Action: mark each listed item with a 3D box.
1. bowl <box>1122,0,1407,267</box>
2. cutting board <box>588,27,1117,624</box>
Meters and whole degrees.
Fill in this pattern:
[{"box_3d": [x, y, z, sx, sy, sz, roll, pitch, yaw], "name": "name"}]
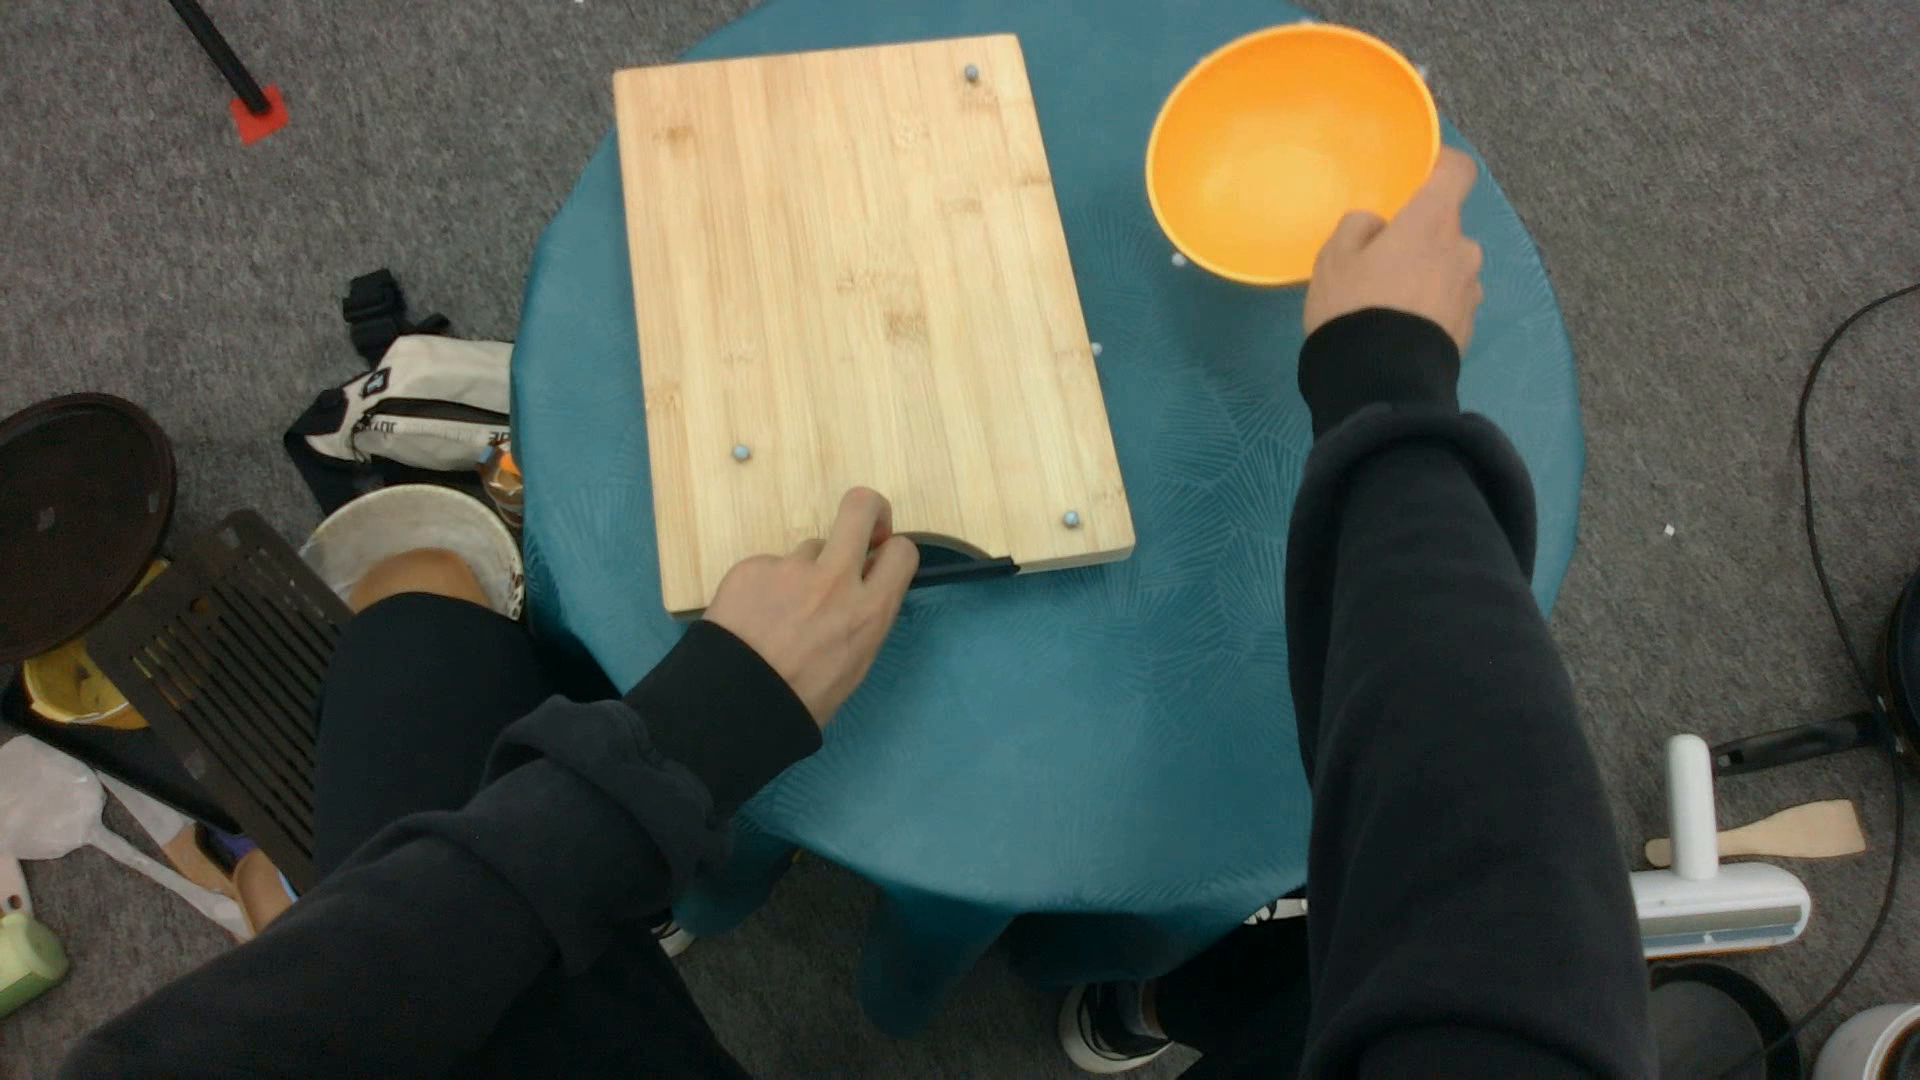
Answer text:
[{"box_3d": [0.162, -0.206, 0.729, 0.145, 0.060, 0.145, -3, 80, 20], "name": "bowl"}, {"box_3d": [-0.068, -0.135, 0.754, 0.251, 0.023, 0.349, -9, 68, -7], "name": "cutting board"}]
